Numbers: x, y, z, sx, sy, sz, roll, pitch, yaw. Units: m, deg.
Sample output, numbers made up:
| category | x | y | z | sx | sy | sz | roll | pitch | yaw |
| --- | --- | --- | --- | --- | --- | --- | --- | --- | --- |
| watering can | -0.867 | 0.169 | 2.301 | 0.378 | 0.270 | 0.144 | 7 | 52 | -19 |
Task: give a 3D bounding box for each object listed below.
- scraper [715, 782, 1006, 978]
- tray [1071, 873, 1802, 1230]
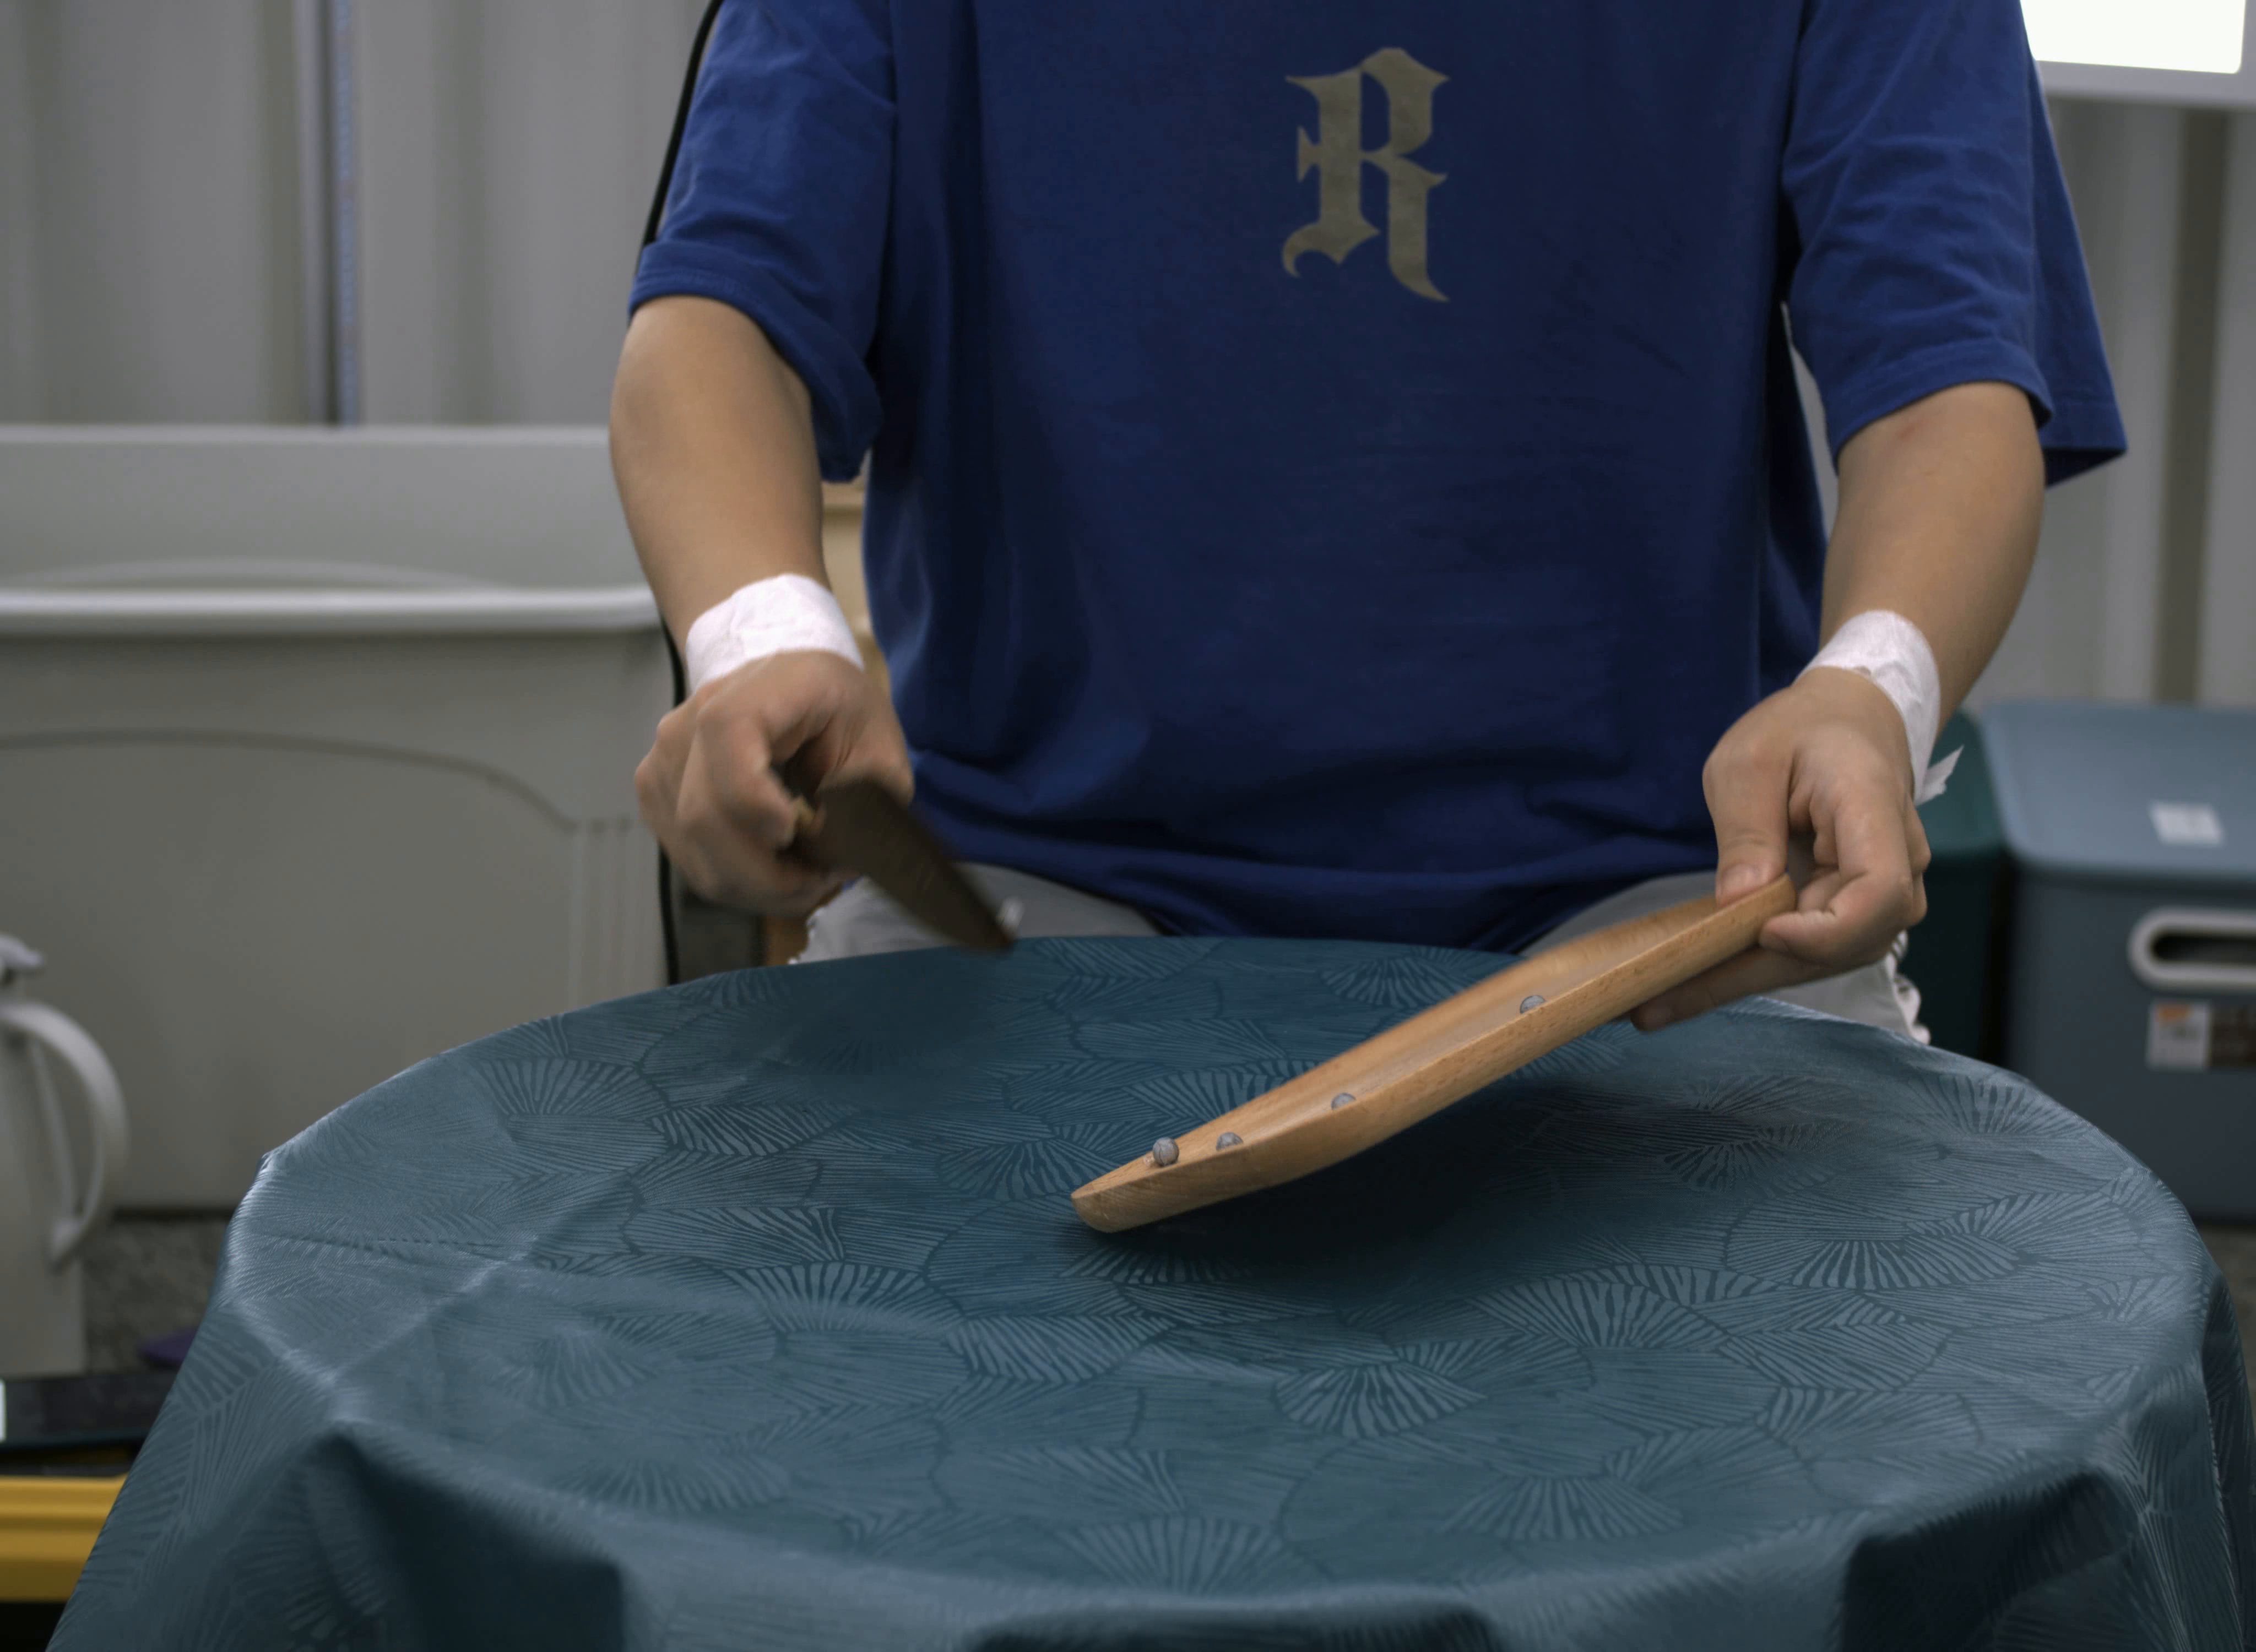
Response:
| category | x | y | z | sx | sy | sz | roll | pitch | yaw |
| --- | --- | --- | --- | --- | --- | --- | --- | --- | --- |
| scraper | -0.095 | 0.012 | 1.665 | 0.011 | 0.076 | 0.209 | -43 | 17 | -13 |
| tray | 0.099 | 0.069 | 1.624 | 0.251 | 0.023 | 0.129 | -22 | 2 | -42 |
